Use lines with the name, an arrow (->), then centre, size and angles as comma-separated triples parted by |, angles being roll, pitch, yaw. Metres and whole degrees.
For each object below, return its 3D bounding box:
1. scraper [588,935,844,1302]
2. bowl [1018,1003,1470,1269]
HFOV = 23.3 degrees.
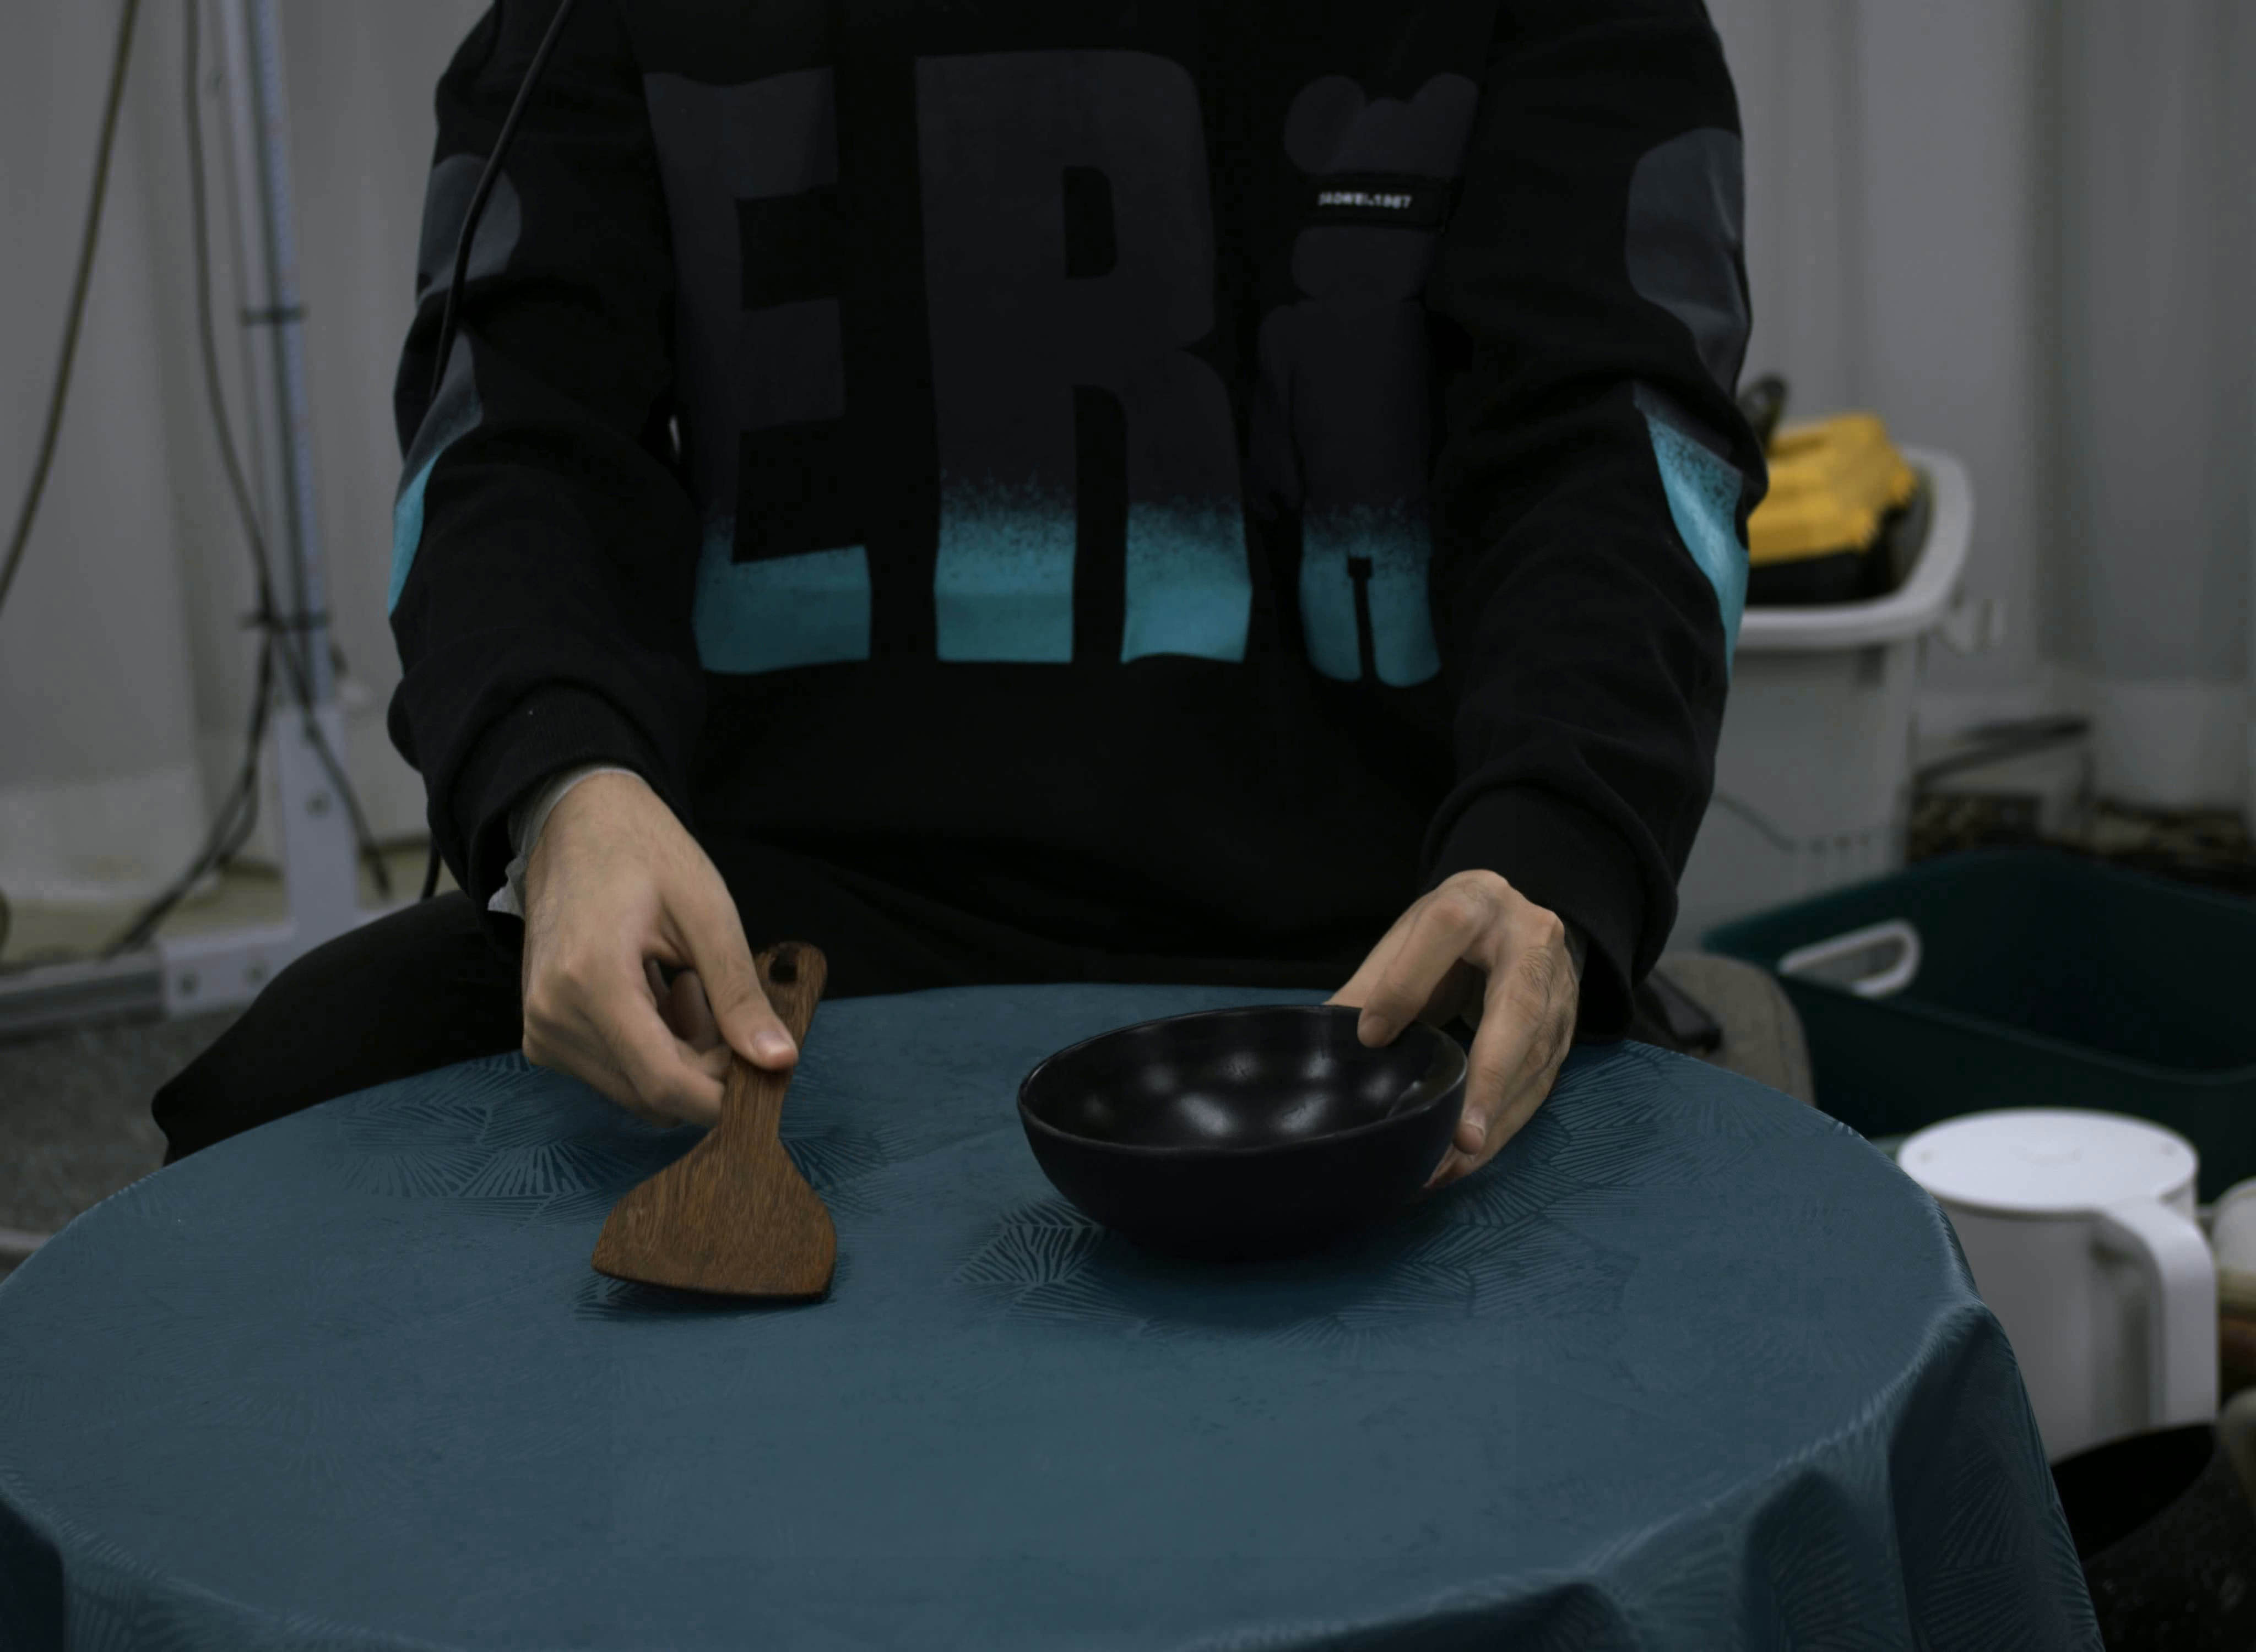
scraper -> -0.118, 0.090, 1.717 | 0.075, 0.011, 0.214 | 8, 29, 0
bowl -> 0.038, 0.099, 1.668 | 0.139, 0.049, 0.141 | -7, 15, 2
